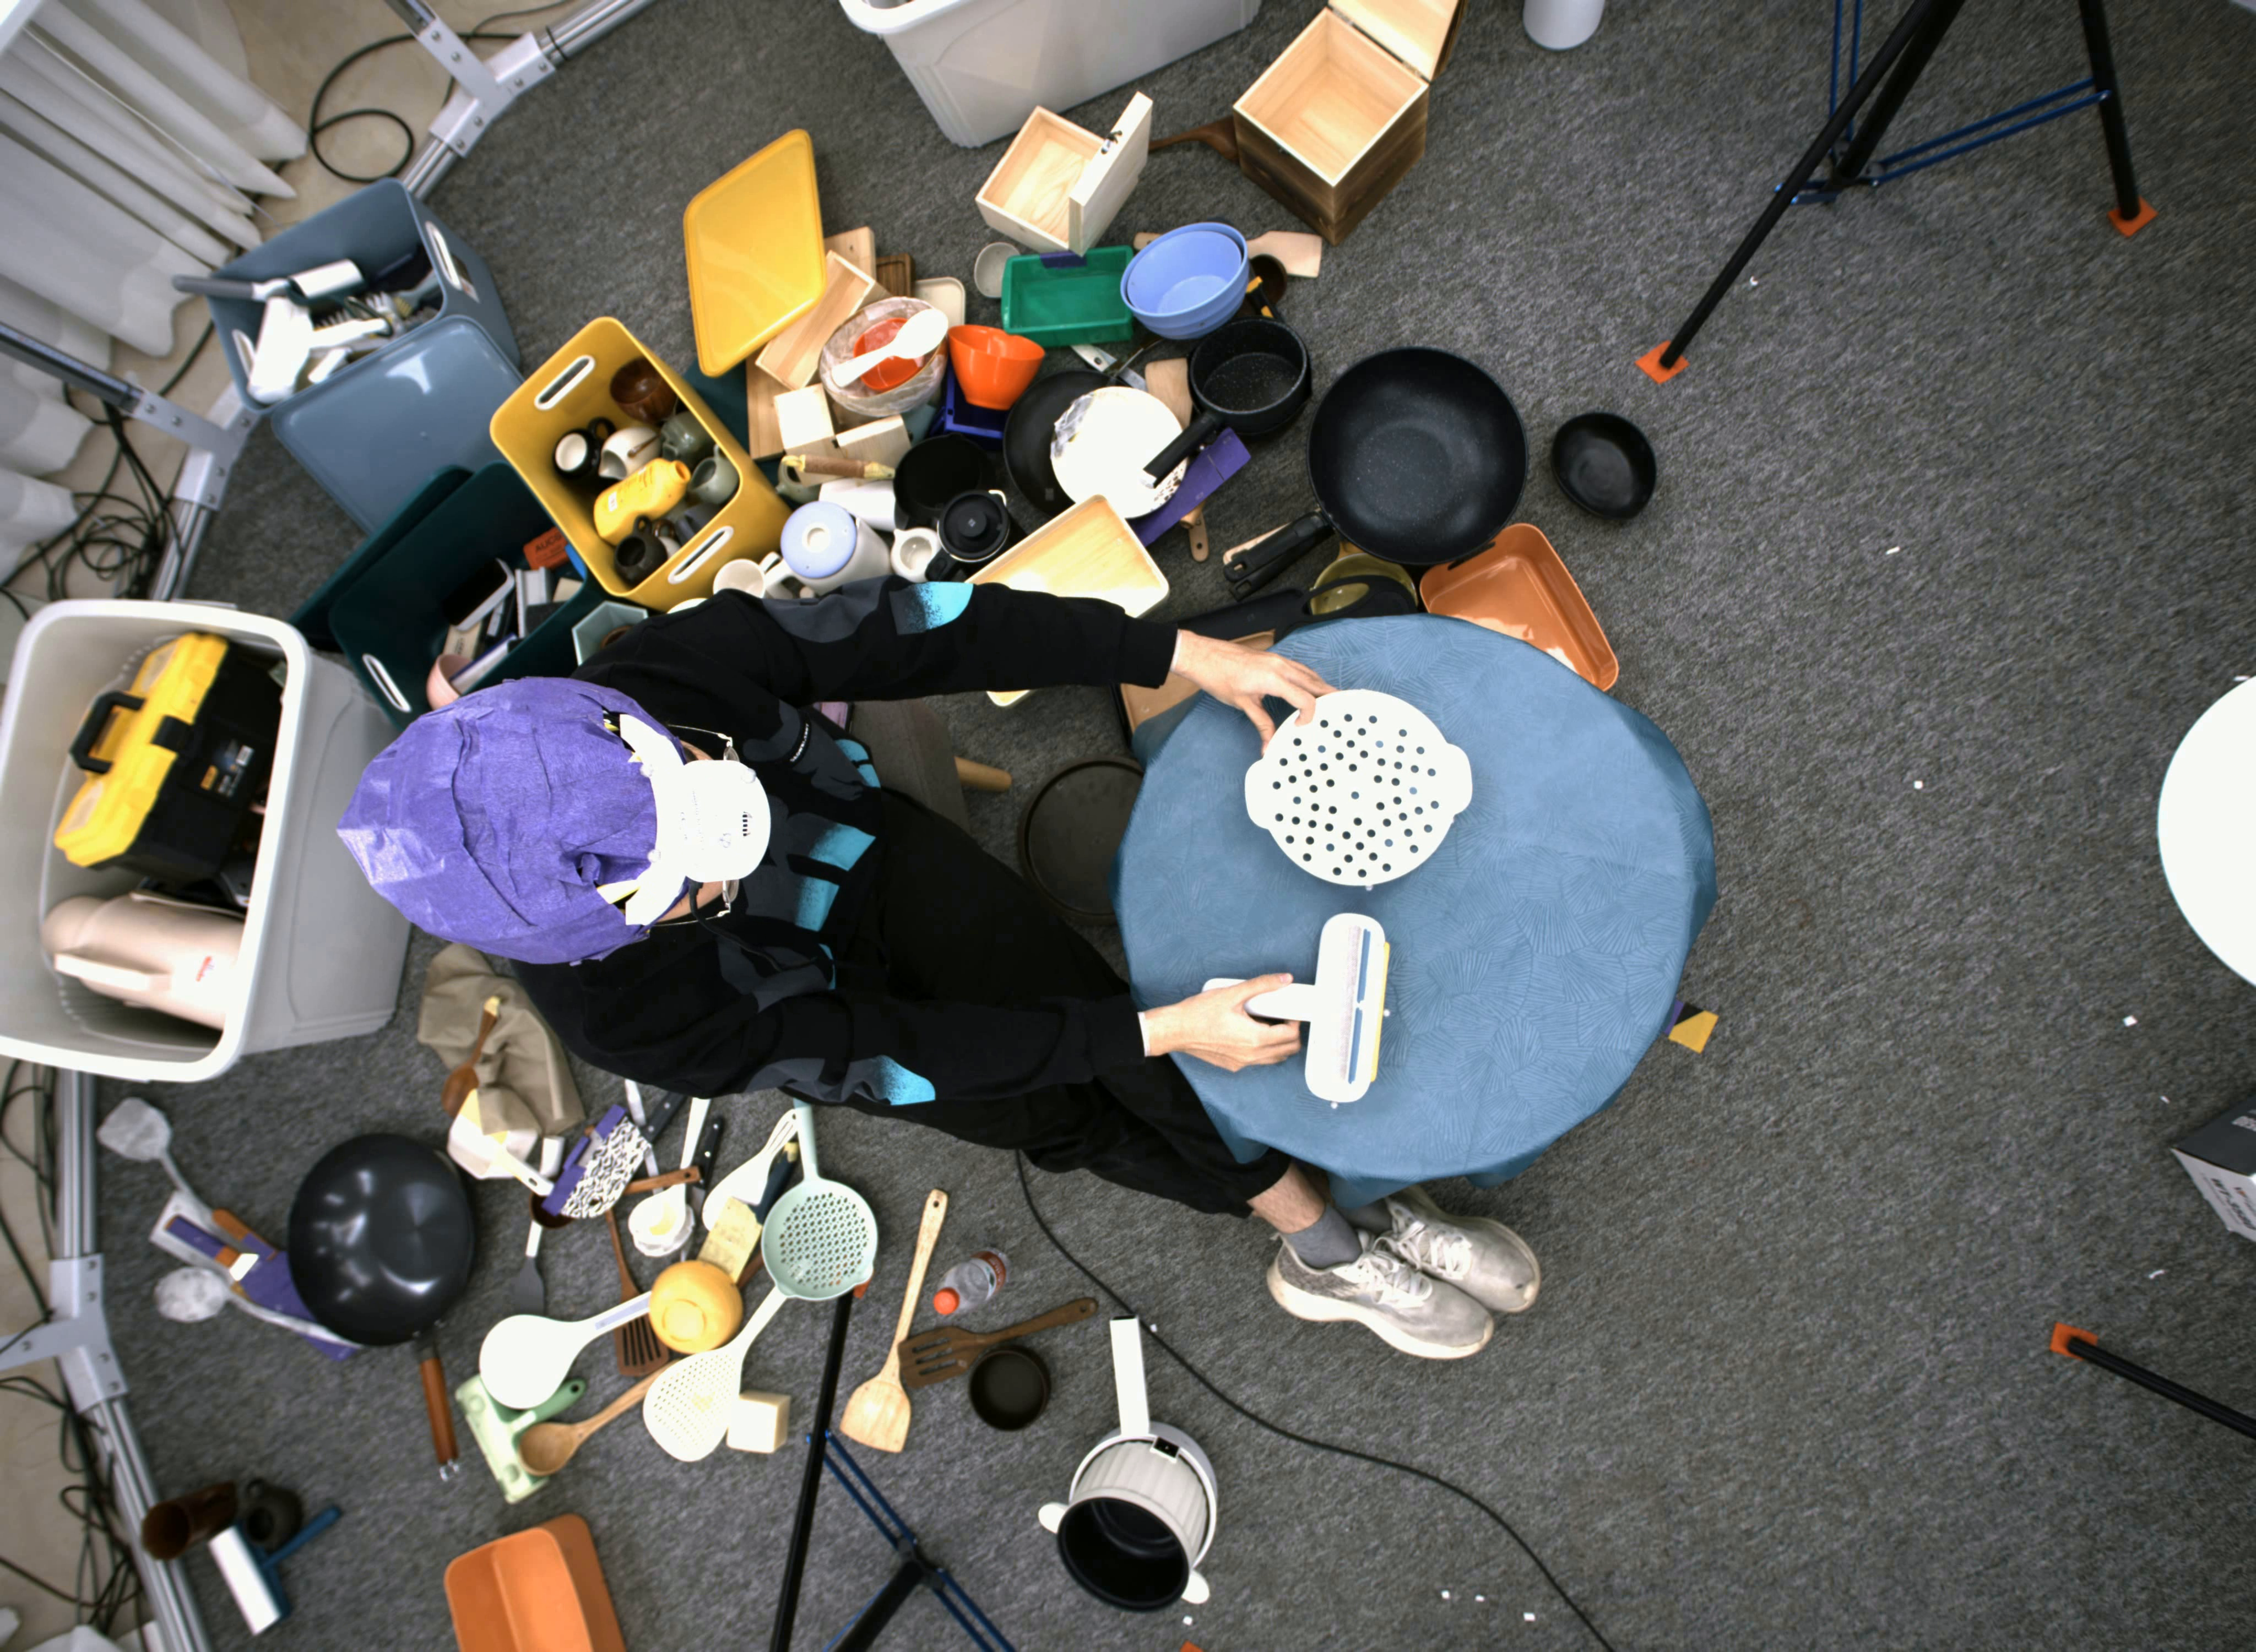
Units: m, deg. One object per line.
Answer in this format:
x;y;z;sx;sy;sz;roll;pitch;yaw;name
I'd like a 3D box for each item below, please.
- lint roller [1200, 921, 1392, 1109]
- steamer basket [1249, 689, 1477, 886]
0.166;0.183;1.434;0.193;0.074;0.191;10;82;12;lint roller
0.243;-0.039;1.432;0.231;0.069;0.200;-4;84;11;steamer basket
